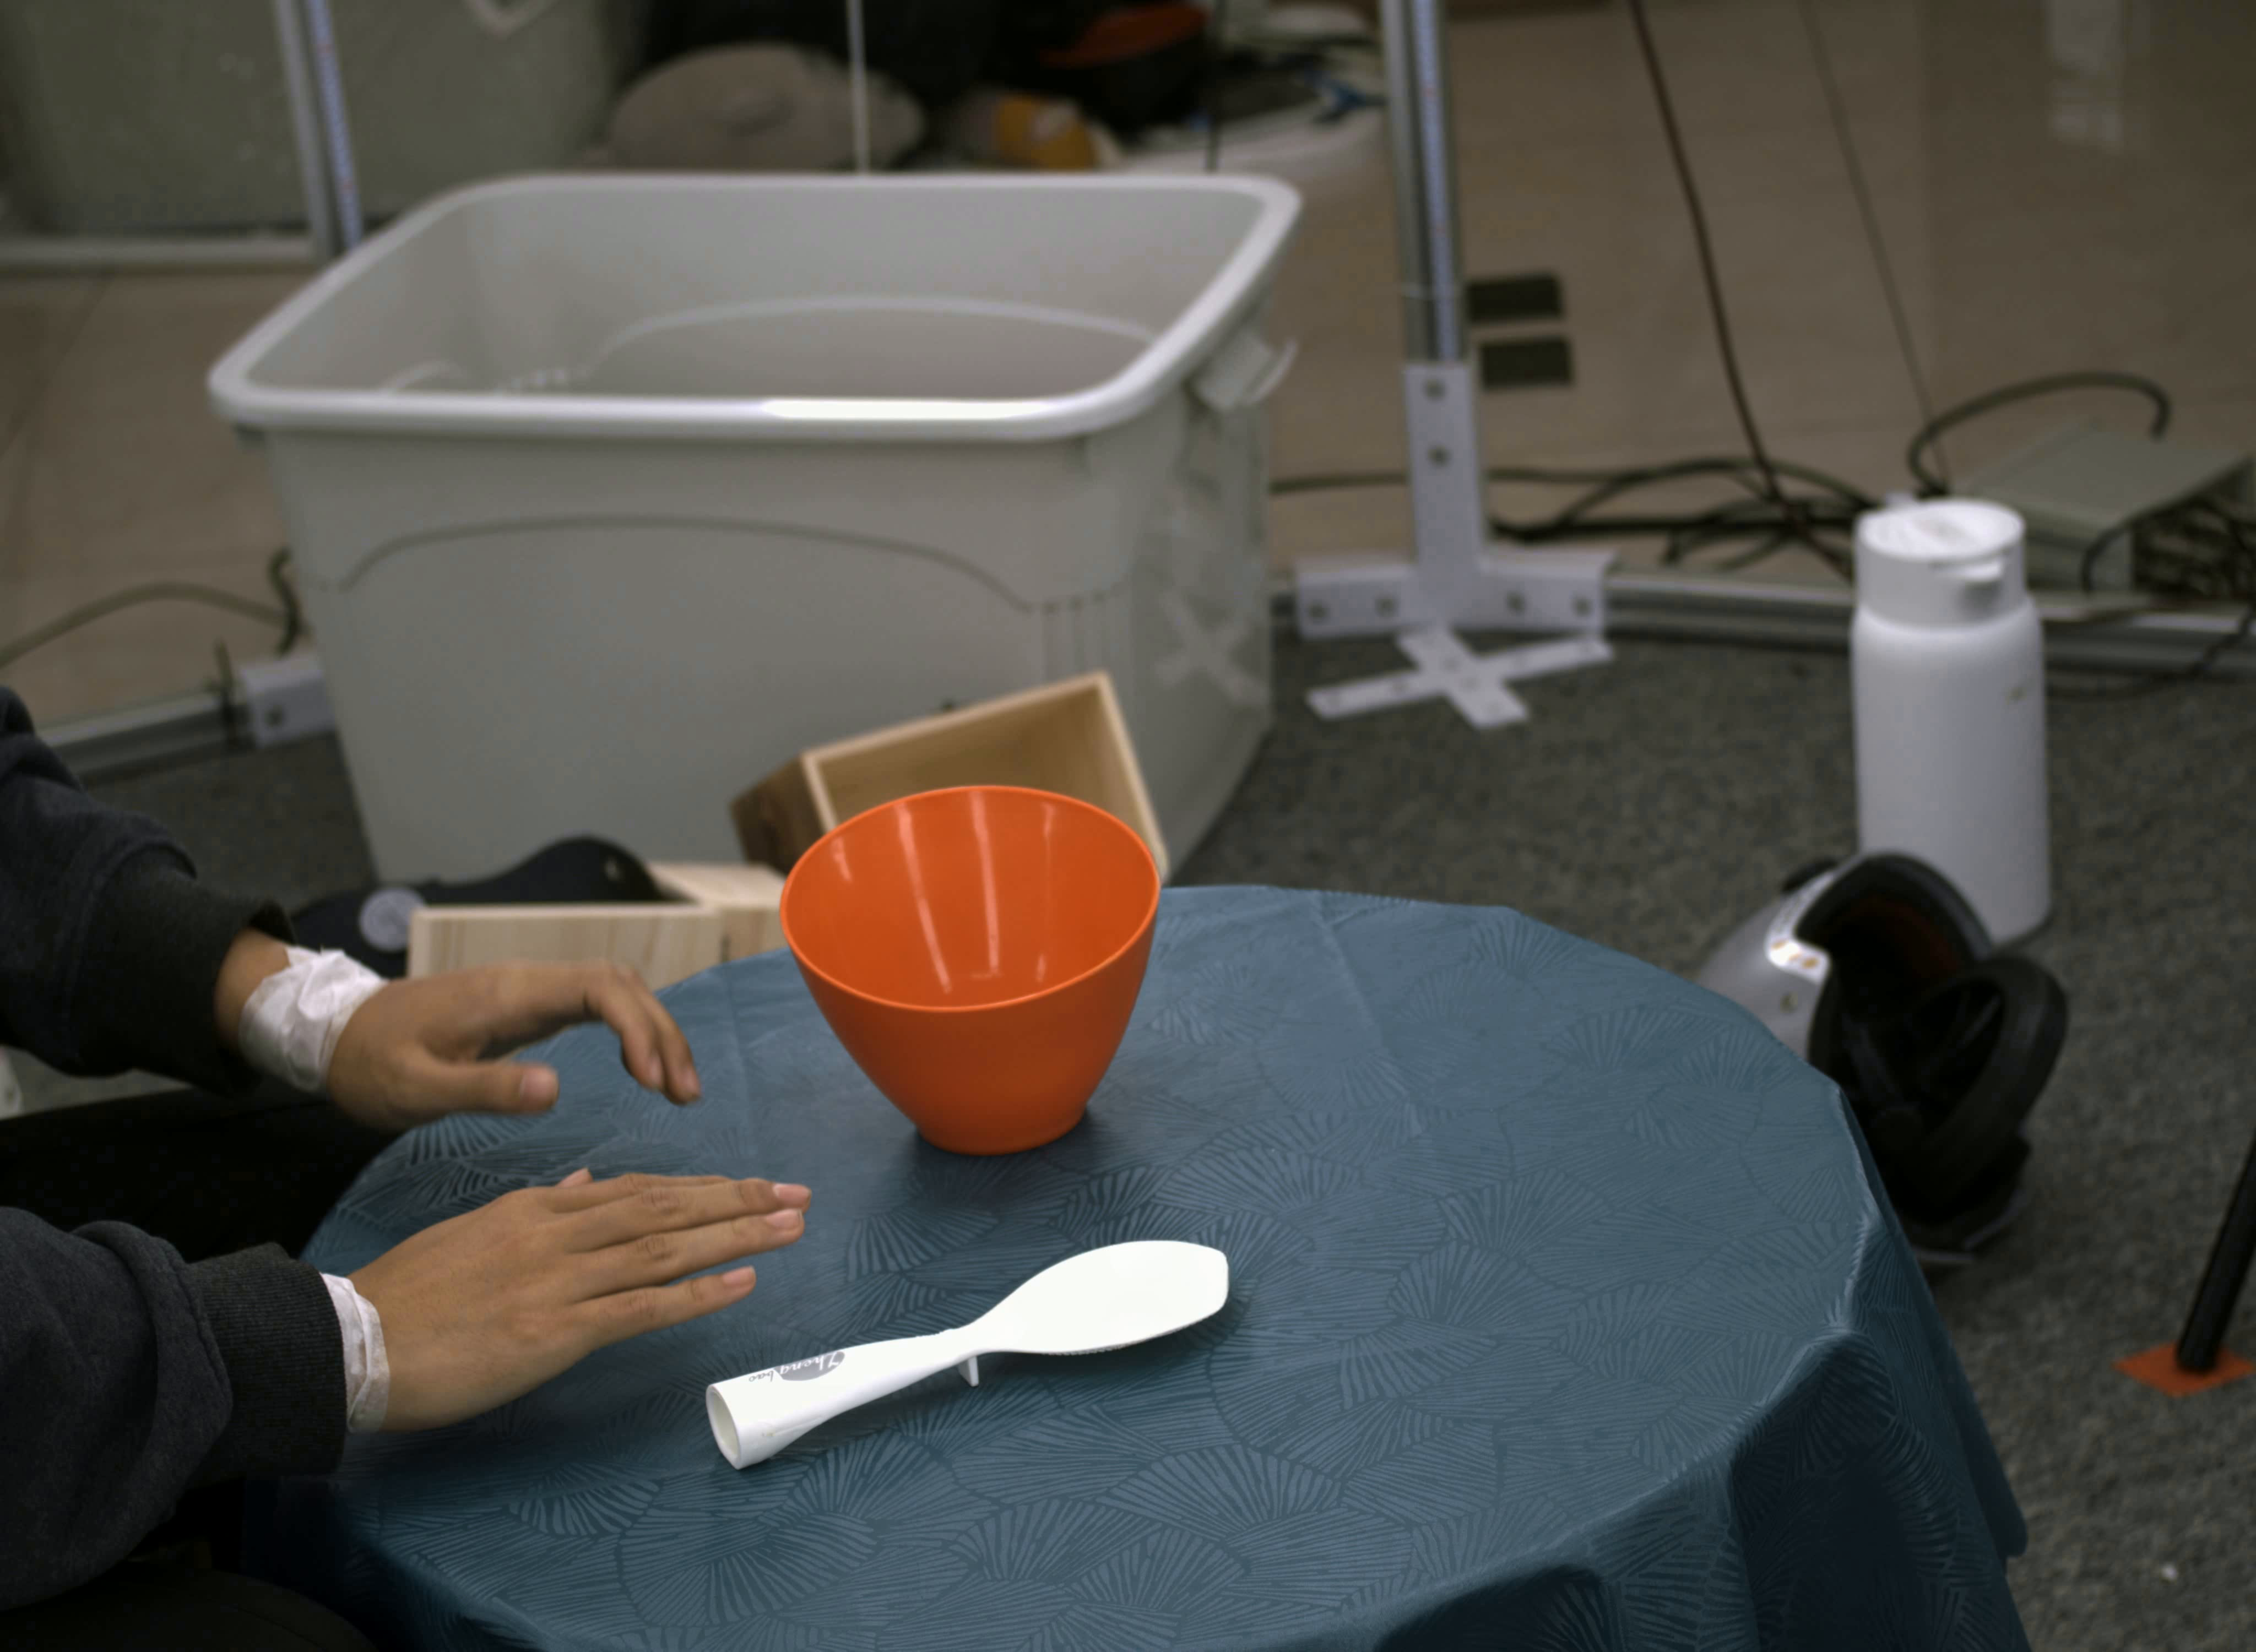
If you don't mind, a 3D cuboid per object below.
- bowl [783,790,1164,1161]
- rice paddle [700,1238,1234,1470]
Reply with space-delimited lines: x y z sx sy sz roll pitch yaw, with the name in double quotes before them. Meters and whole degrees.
"bowl" -0.056 0.064 2.201 0.148 0.106 0.146 -5 27 2
"rice paddle" -0.055 0.183 2.029 0.204 0.030 0.068 -17 28 -22
